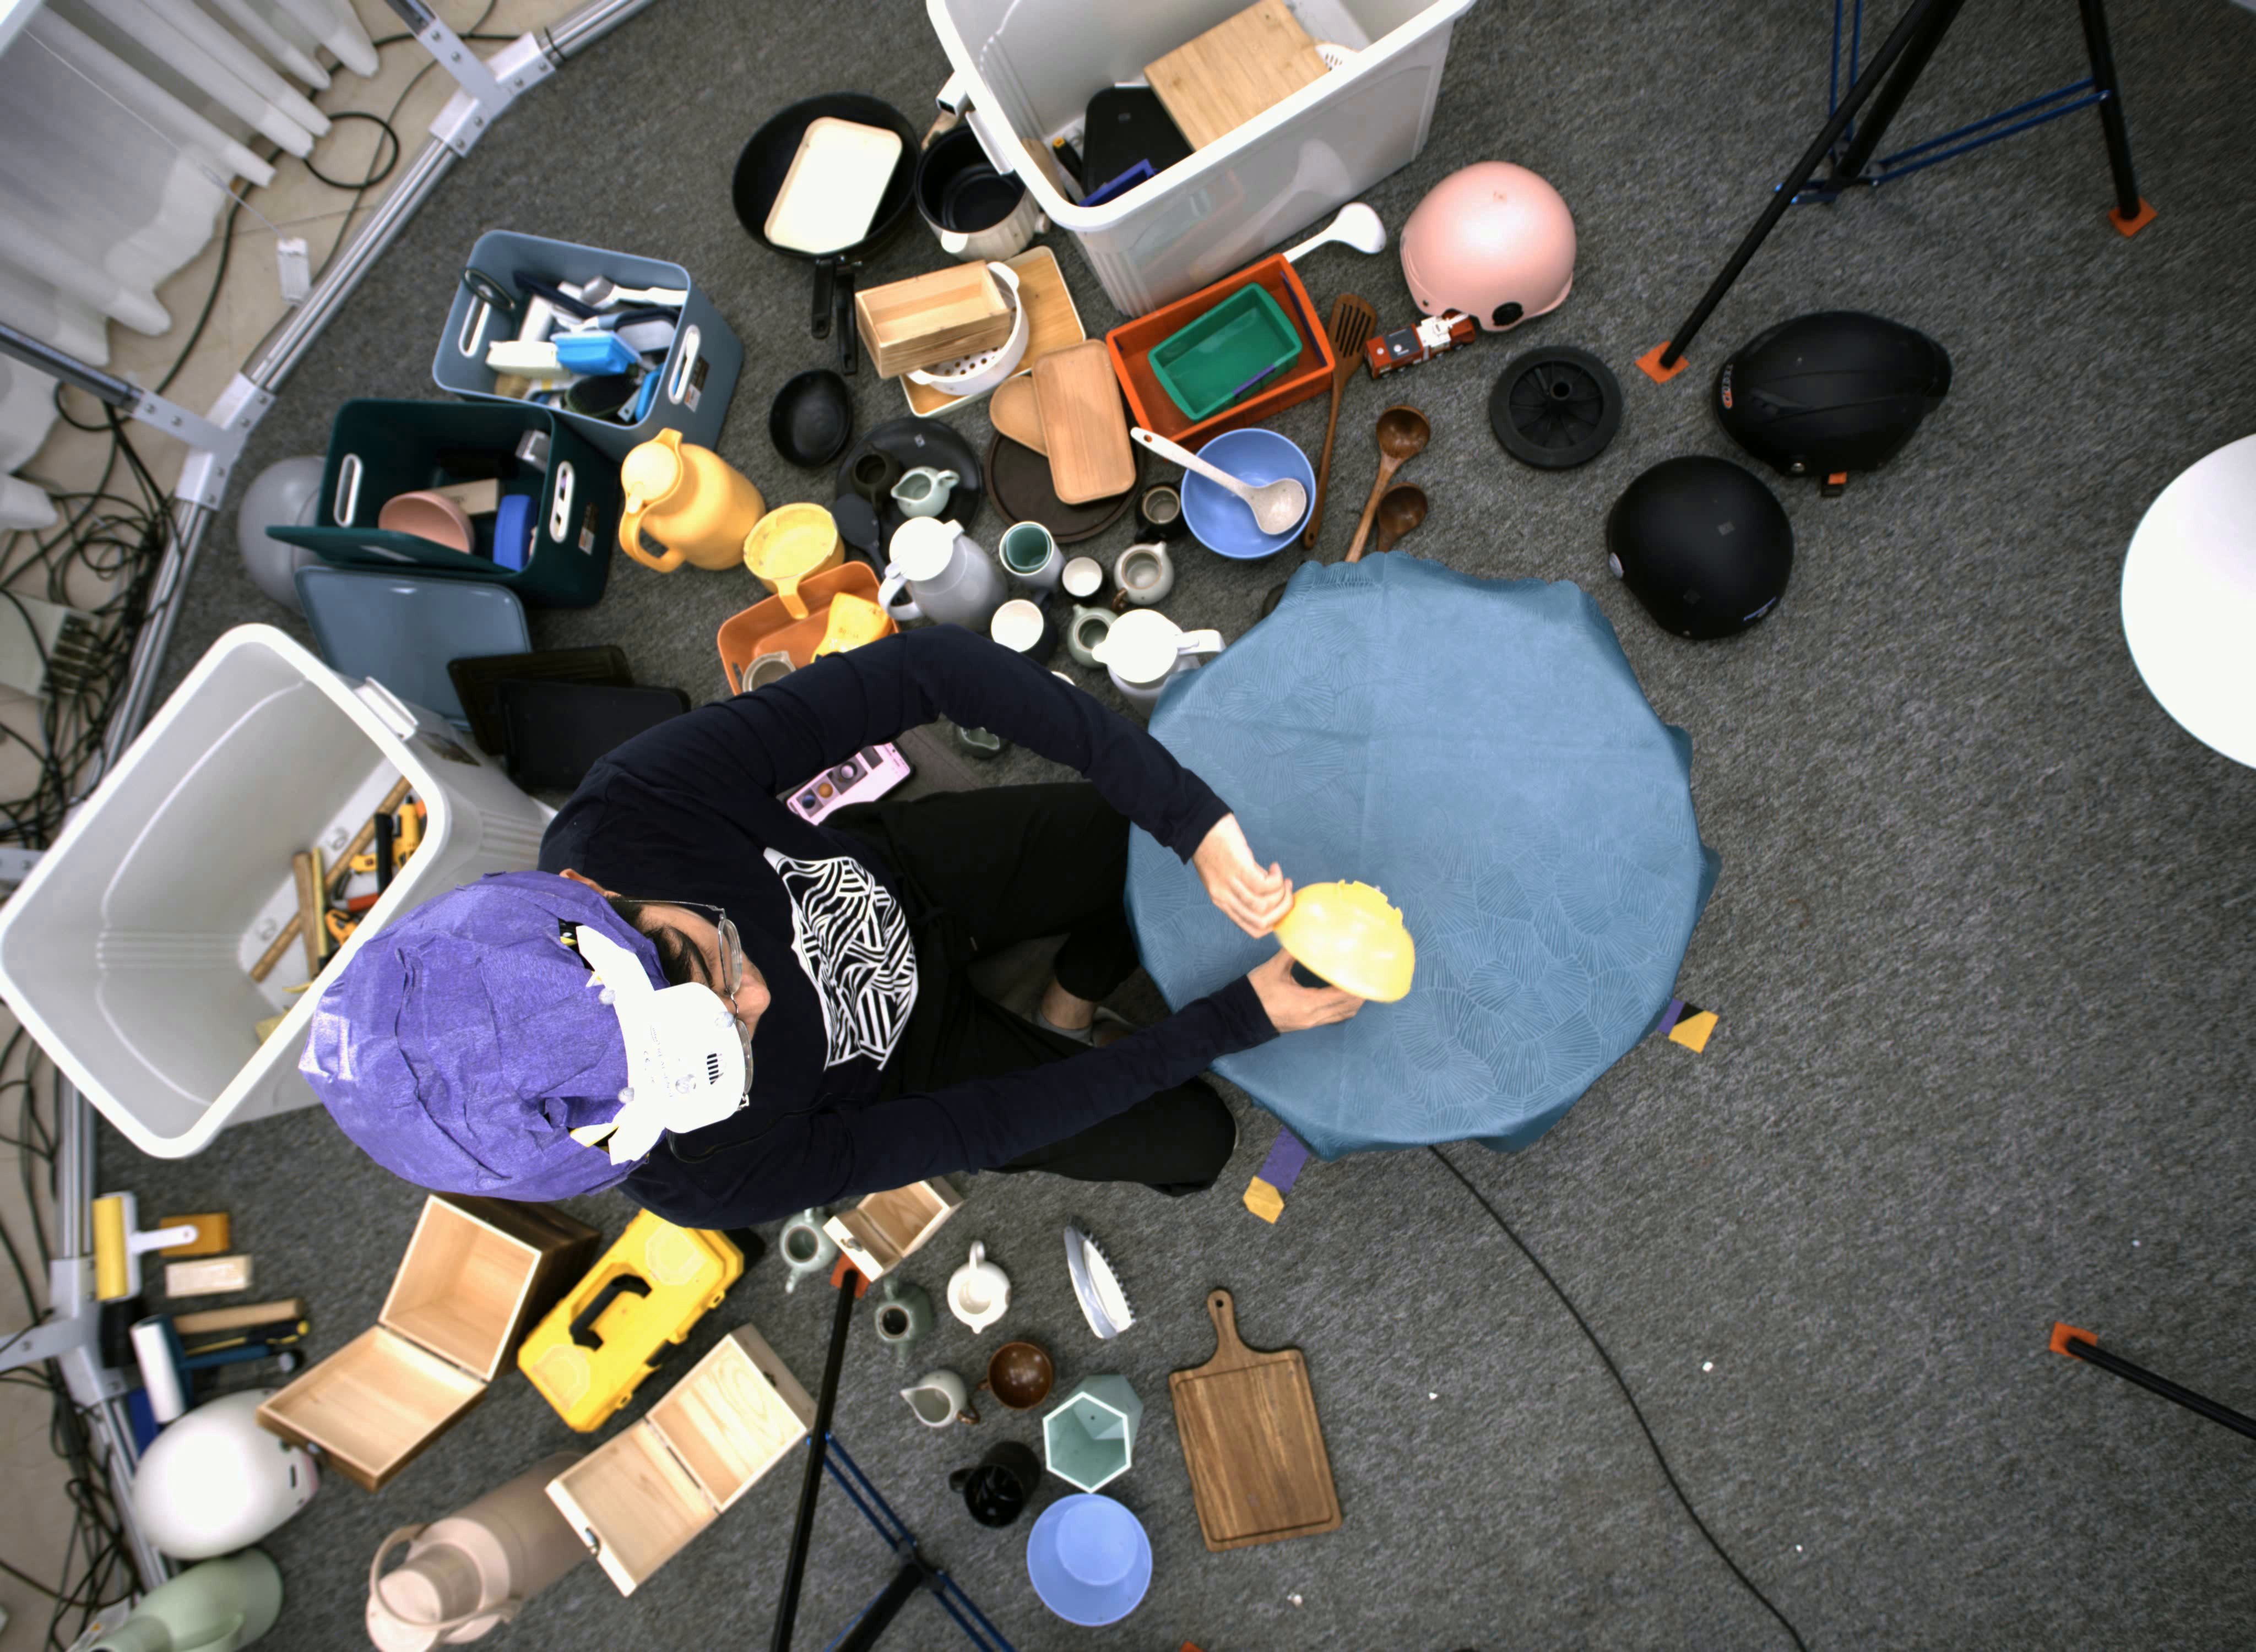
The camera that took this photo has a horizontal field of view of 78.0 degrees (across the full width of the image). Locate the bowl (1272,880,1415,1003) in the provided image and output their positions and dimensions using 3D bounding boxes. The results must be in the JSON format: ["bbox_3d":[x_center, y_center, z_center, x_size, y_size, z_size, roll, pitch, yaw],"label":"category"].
[{"bbox_3d":[0.209,0.091,1.269,0.145,0.142,0.061,35,119,11],"label":"bowl"}]

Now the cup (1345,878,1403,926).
[{"bbox_3d":[0.238,0.100,1.404,0.088,0.119,0.087,-2,81,11],"label":"cup"}]
